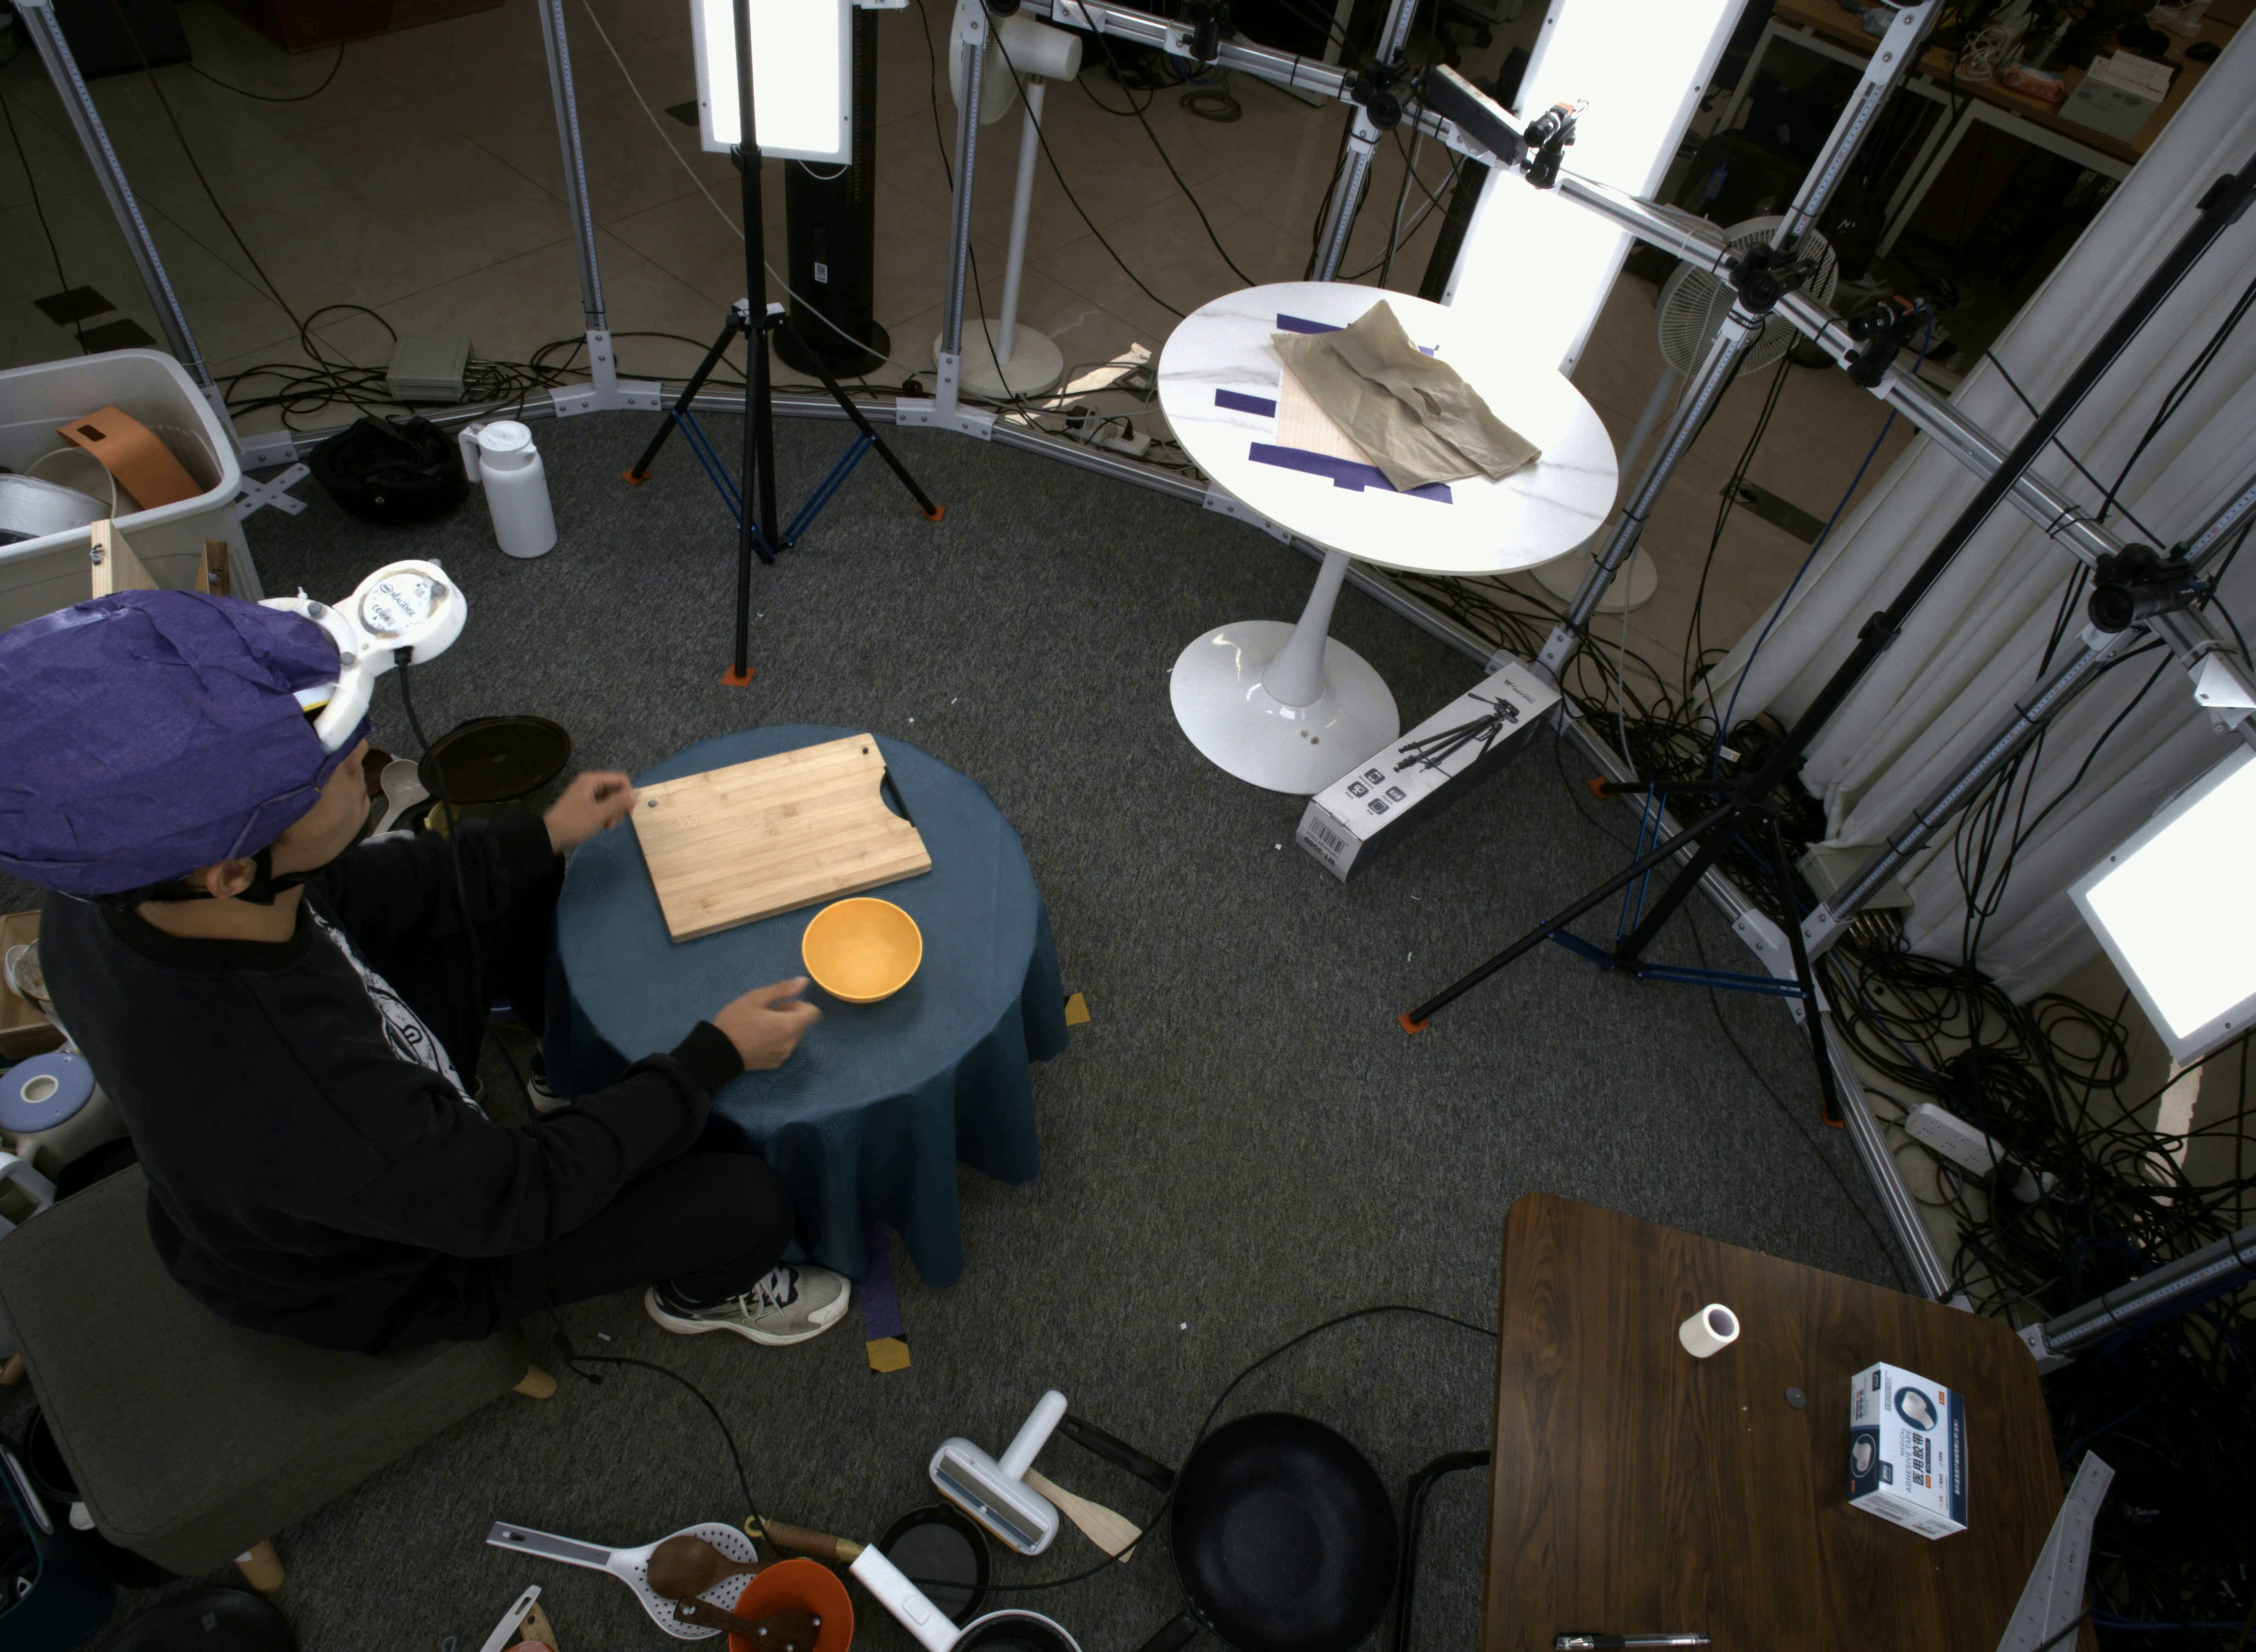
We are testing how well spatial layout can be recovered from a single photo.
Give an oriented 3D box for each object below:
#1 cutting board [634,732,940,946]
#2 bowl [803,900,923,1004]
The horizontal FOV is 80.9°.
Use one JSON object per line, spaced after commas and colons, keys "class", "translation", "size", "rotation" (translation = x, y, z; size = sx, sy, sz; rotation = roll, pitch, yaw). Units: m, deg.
{"class": "cutting board", "translation": [-0.454, 0.006, 1.706], "size": [0.350, 0.024, 0.244], "rotation": [-17, 60, -25]}
{"class": "bowl", "translation": [-0.324, 0.164, 1.597], "size": [0.144, 0.061, 0.142], "rotation": [6, 51, -6]}
